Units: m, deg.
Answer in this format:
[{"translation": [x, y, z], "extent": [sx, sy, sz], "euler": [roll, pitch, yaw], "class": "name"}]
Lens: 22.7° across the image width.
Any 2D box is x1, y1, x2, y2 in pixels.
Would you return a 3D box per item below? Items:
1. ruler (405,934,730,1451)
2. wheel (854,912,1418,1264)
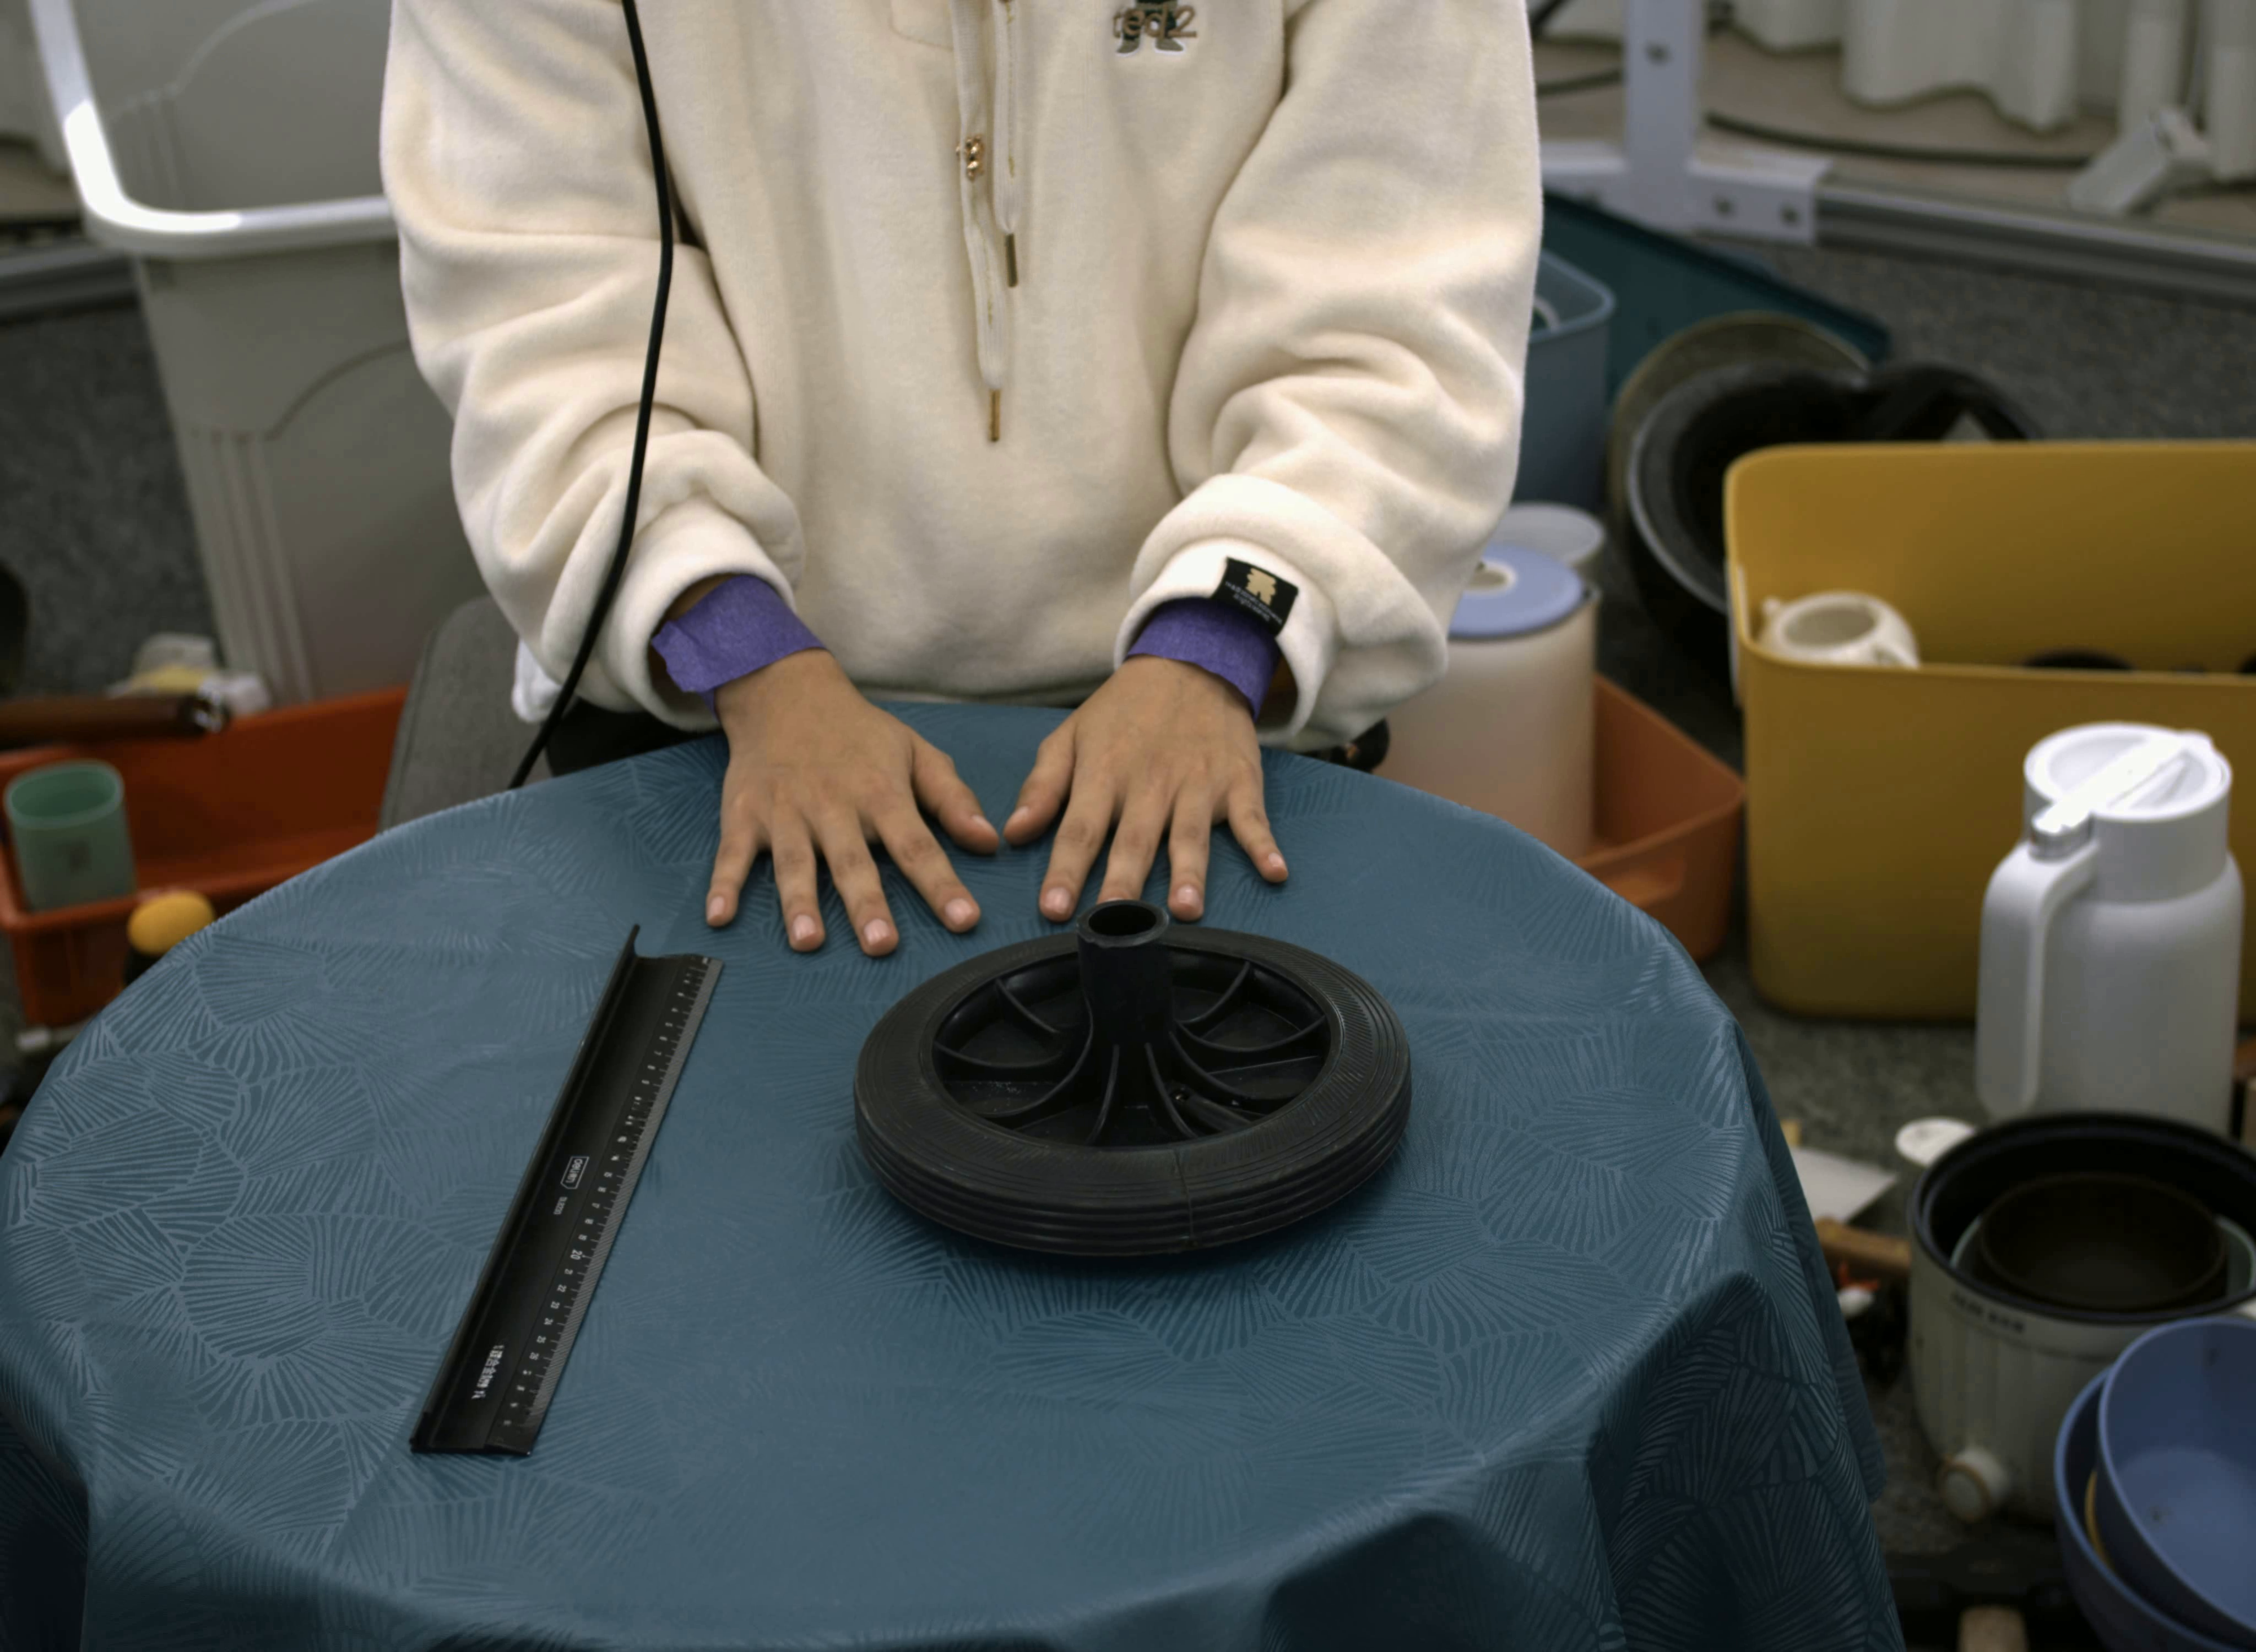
[{"translation": [-0.183, 0.116, 1.873], "extent": [0.039, 0.017, 0.318], "euler": [5, 28, 7], "class": "ruler"}, {"translation": [0.001, 0.071, 1.878], "extent": [0.188, 0.078, 0.190], "euler": [10, 30, 22], "class": "wheel"}]
